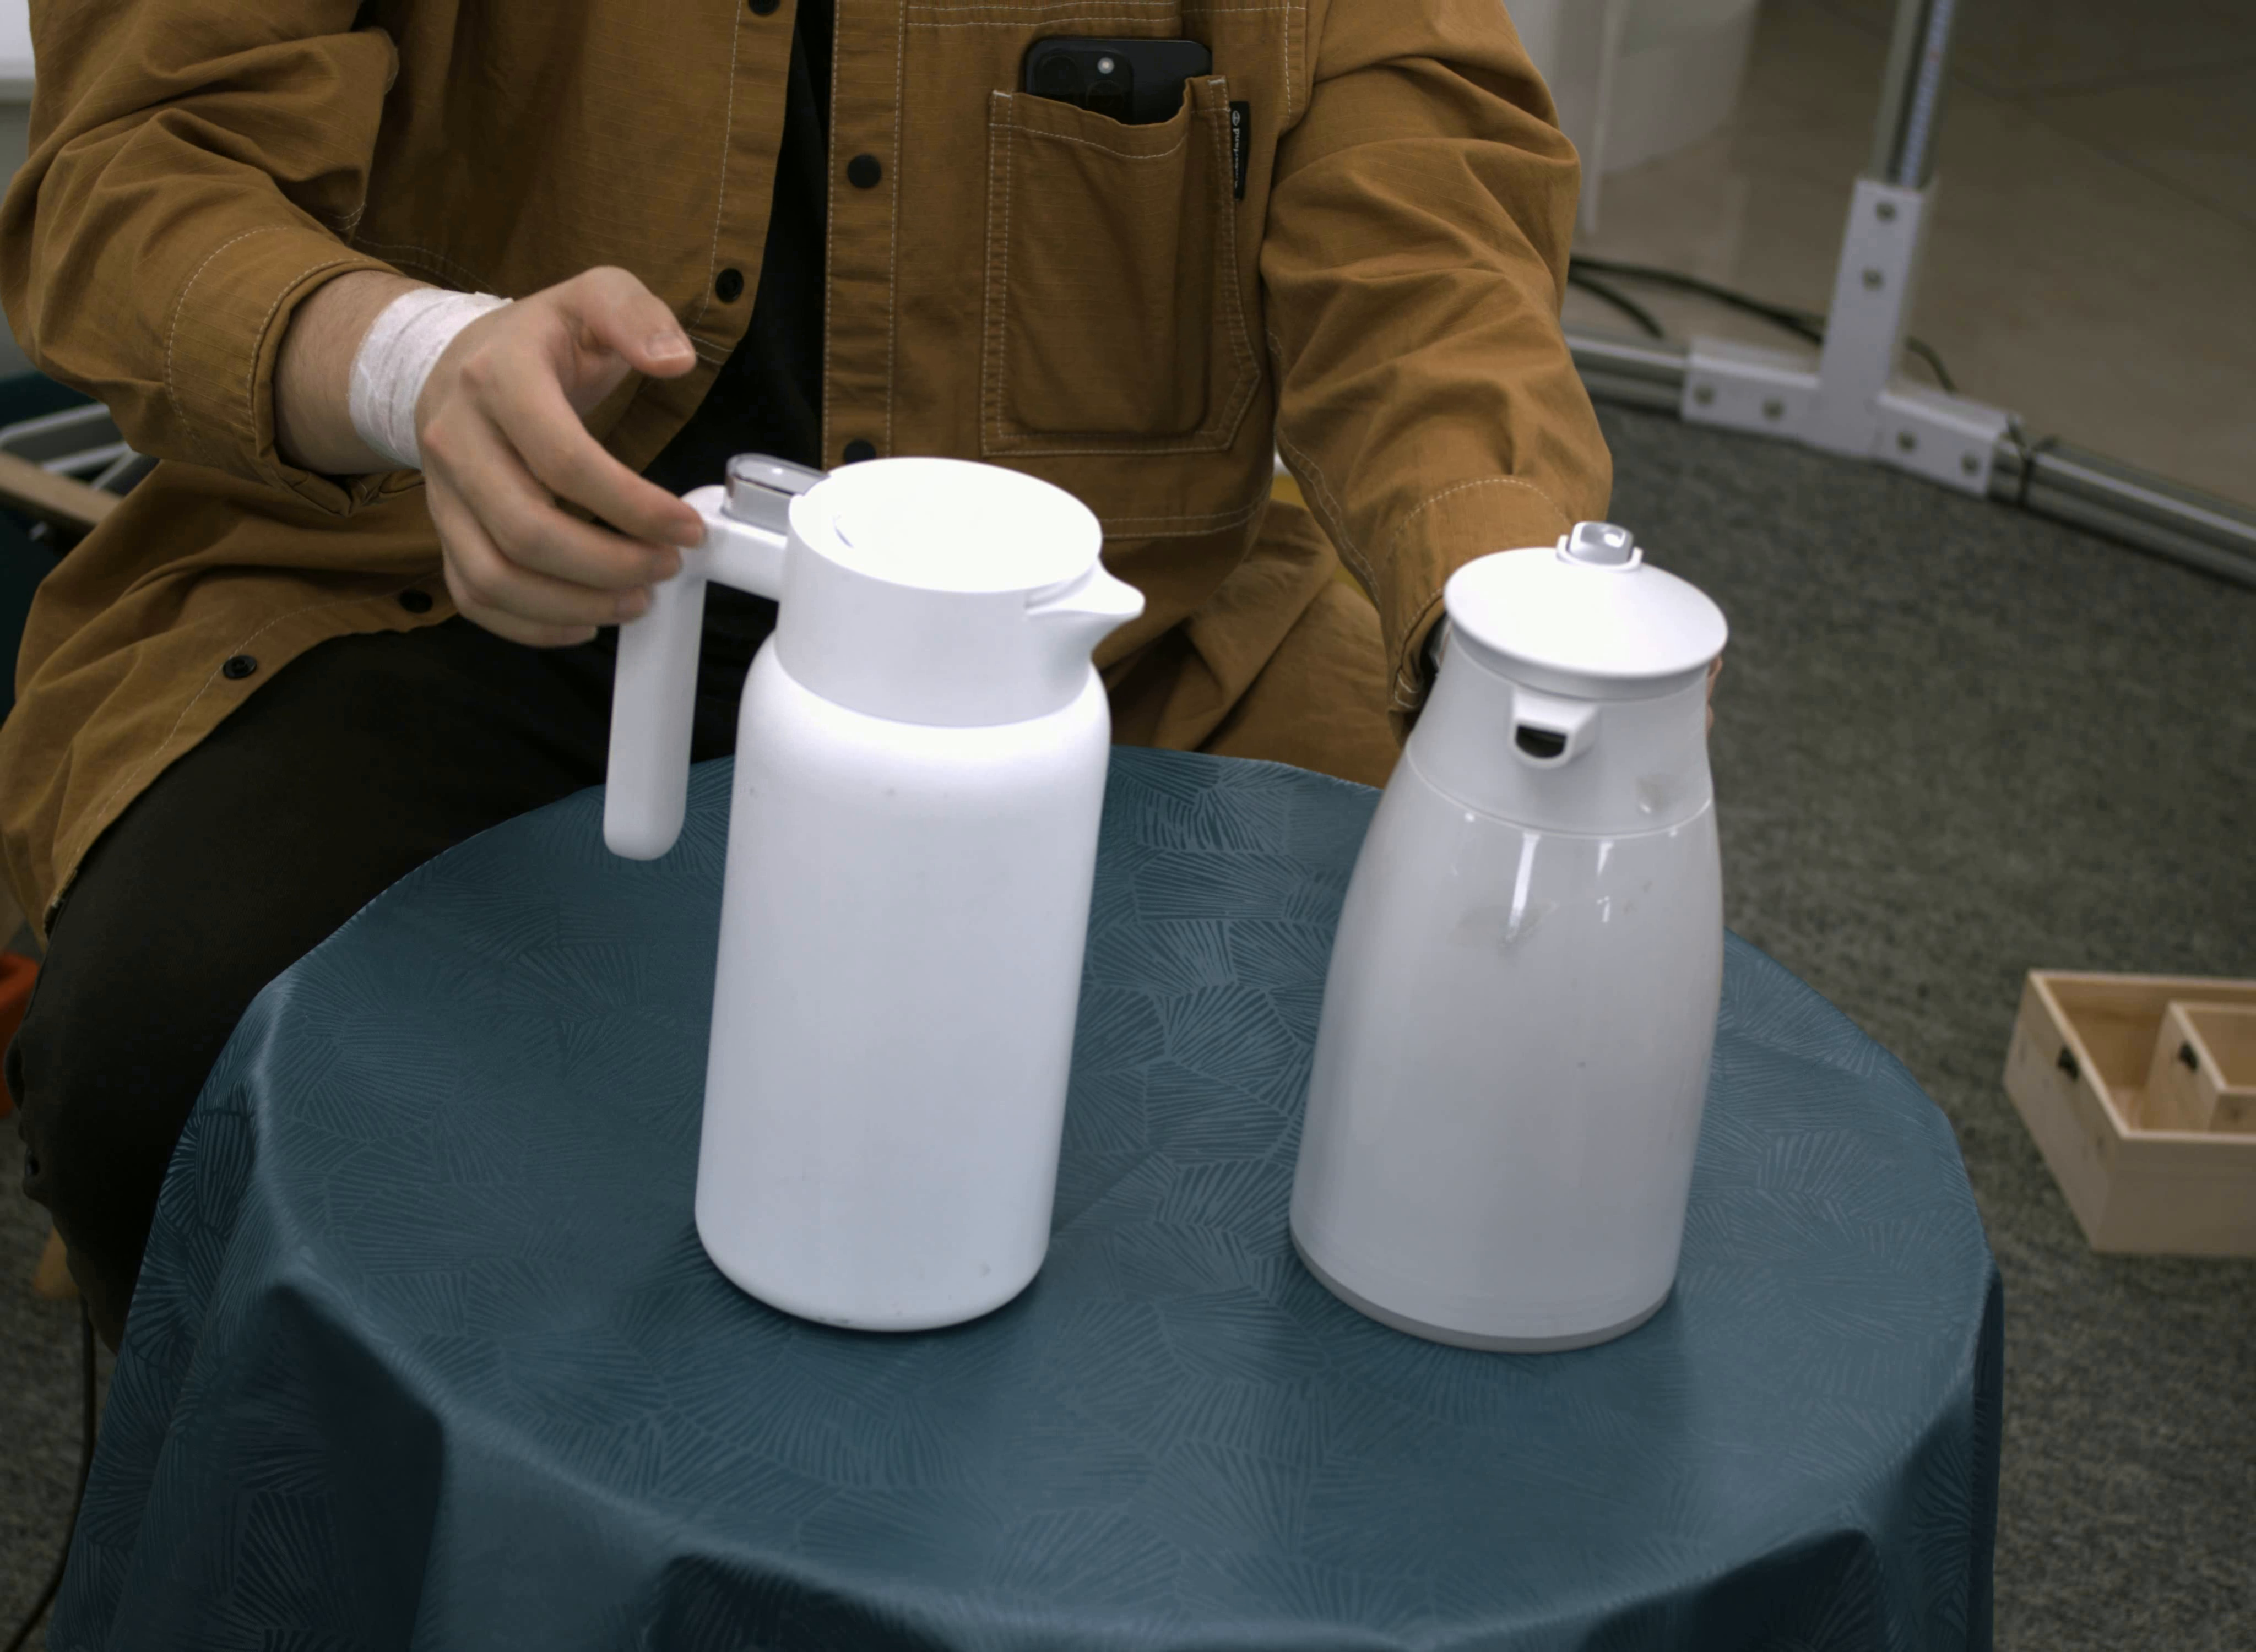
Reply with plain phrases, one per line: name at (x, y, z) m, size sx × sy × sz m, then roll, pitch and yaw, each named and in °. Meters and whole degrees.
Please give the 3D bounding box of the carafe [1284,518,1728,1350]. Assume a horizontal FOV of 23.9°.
carafe at (0.135, 0.024, 1.757) m, size 0.132 × 0.248 × 0.168 m, roll 12°, pitch 26°, yaw 10°

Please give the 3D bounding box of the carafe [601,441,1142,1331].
carafe at (-0.088, 0.017, 1.701) m, size 0.173 × 0.268 × 0.124 m, roll 16°, pitch 30°, yaw 19°
